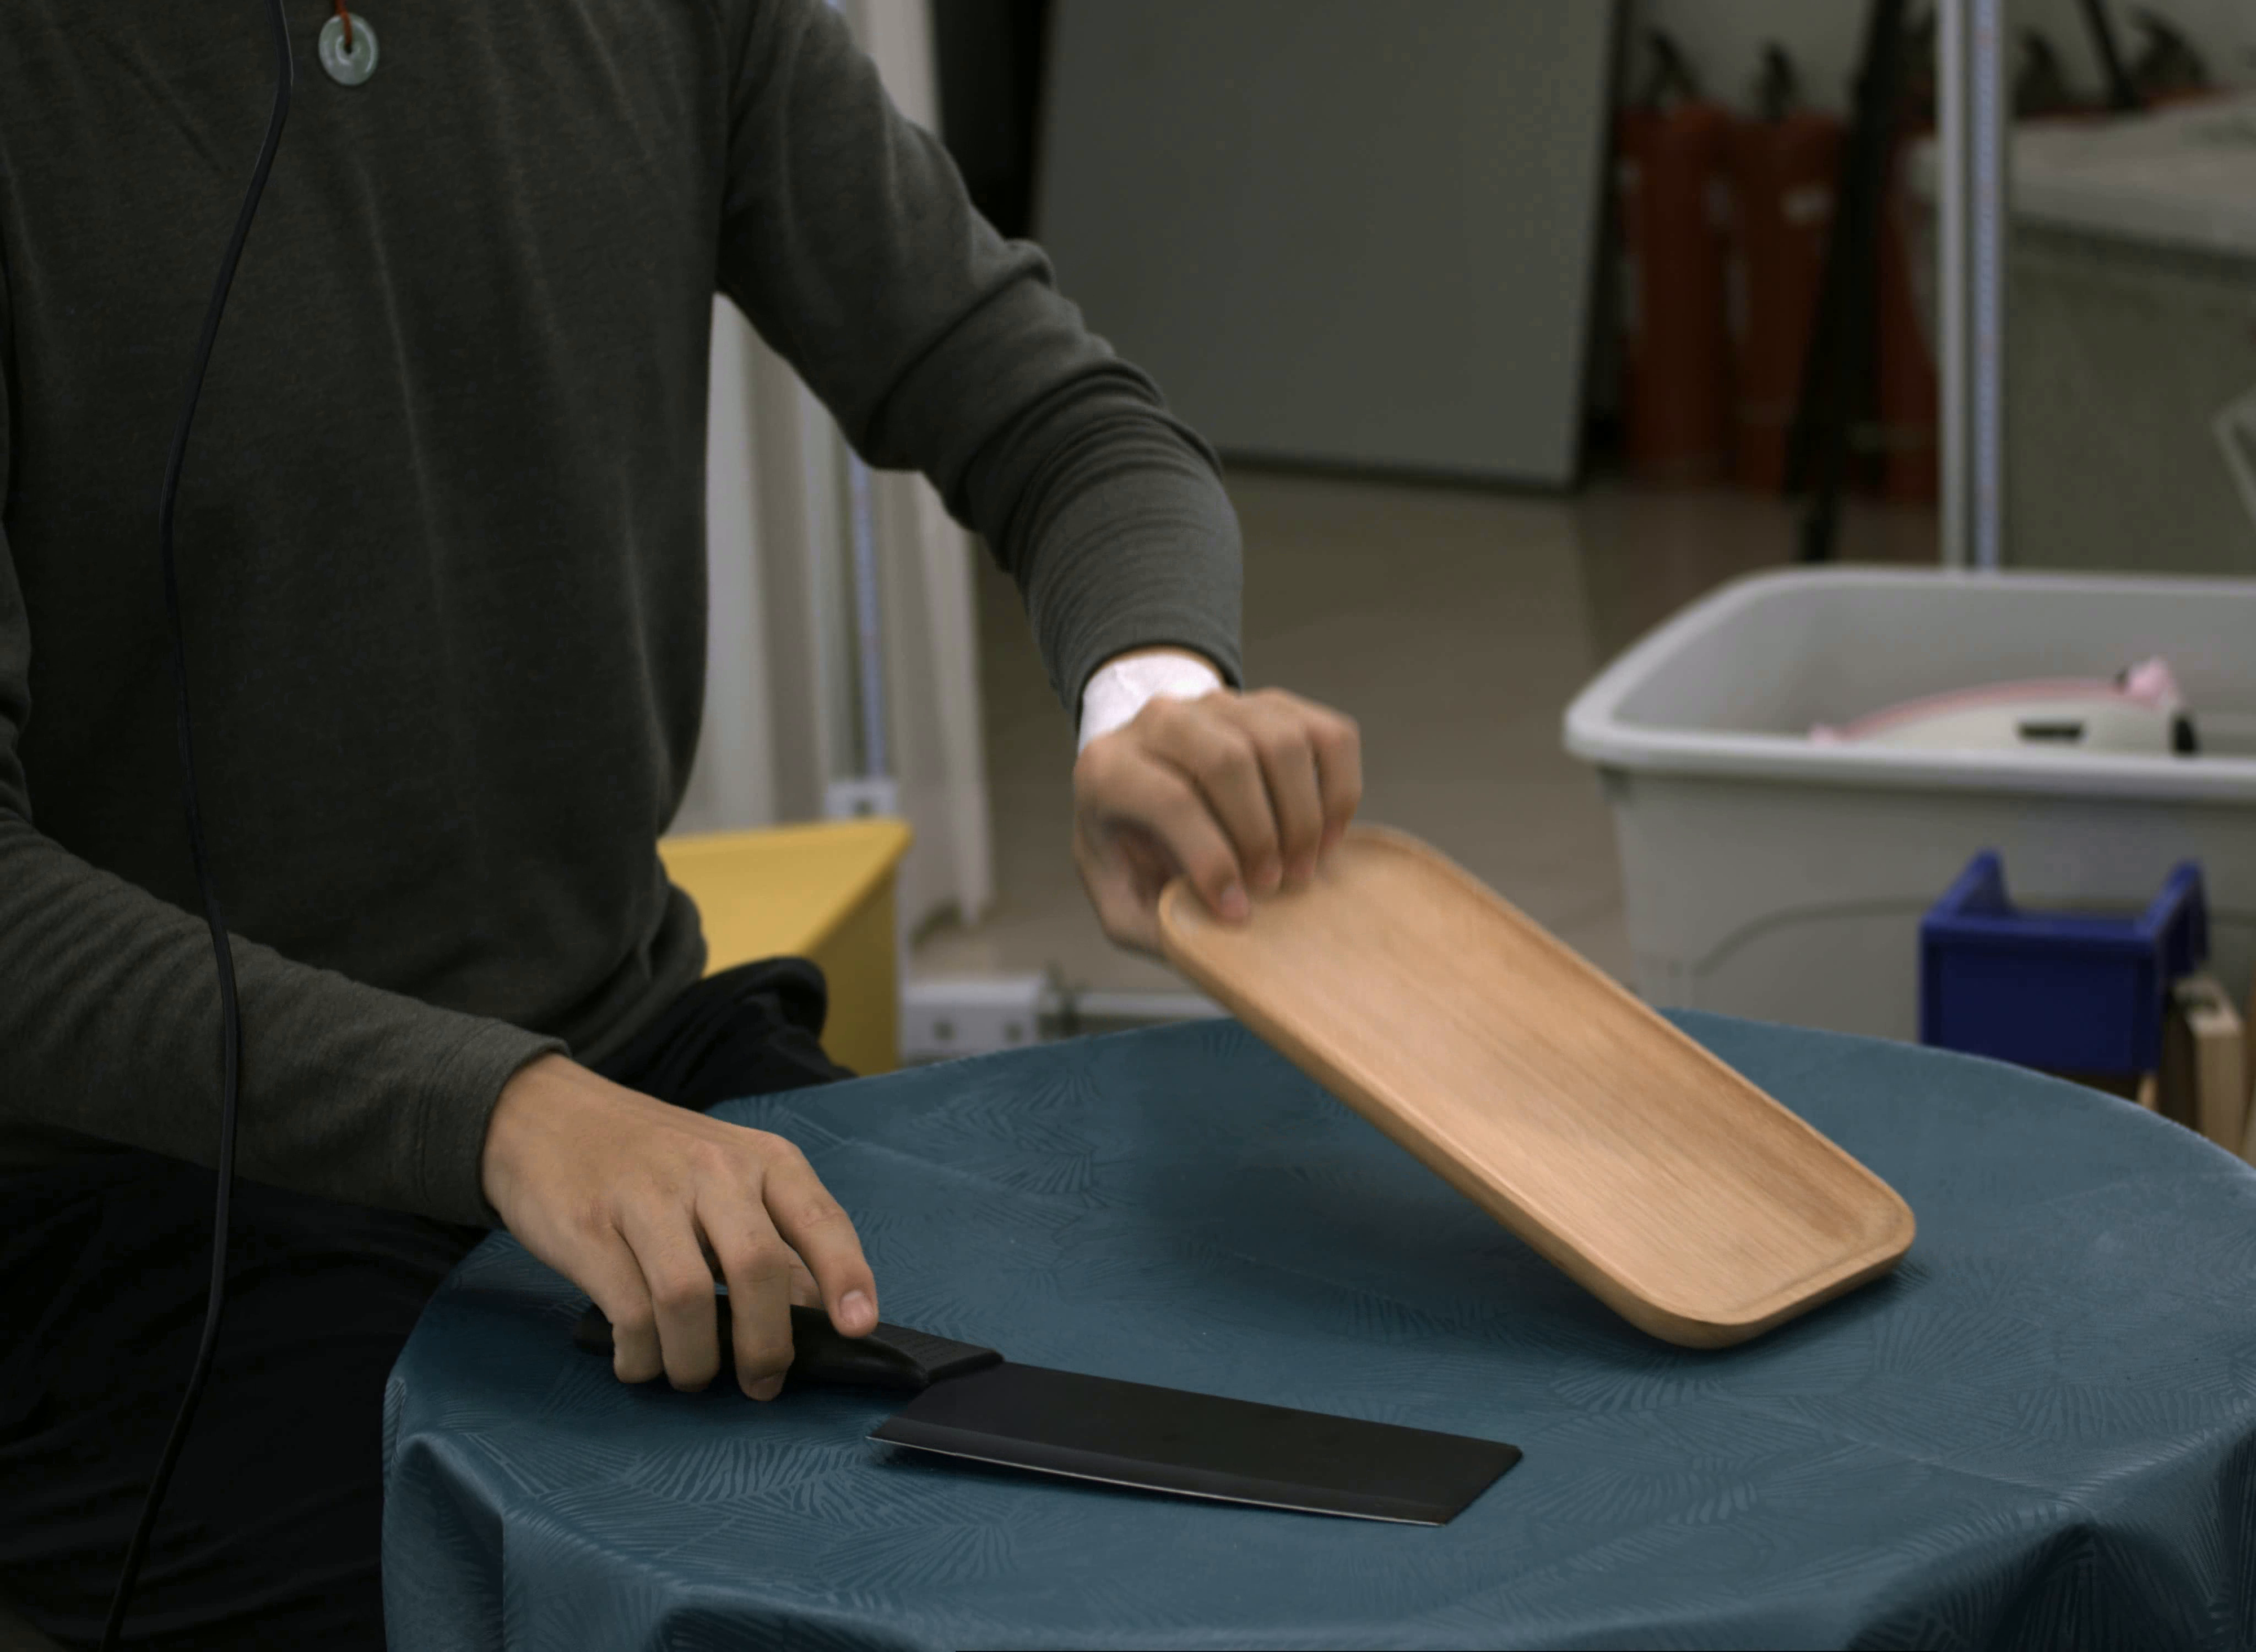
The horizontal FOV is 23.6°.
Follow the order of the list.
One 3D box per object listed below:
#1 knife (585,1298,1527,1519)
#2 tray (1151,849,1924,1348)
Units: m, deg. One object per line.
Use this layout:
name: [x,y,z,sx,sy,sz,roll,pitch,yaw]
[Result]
knife: [-0.030,0.169,1.558,0.304,0.021,0.079,7,19,32]
tray: [0.124,0.082,1.673,0.128,0.023,0.253,-14,38,-45]
